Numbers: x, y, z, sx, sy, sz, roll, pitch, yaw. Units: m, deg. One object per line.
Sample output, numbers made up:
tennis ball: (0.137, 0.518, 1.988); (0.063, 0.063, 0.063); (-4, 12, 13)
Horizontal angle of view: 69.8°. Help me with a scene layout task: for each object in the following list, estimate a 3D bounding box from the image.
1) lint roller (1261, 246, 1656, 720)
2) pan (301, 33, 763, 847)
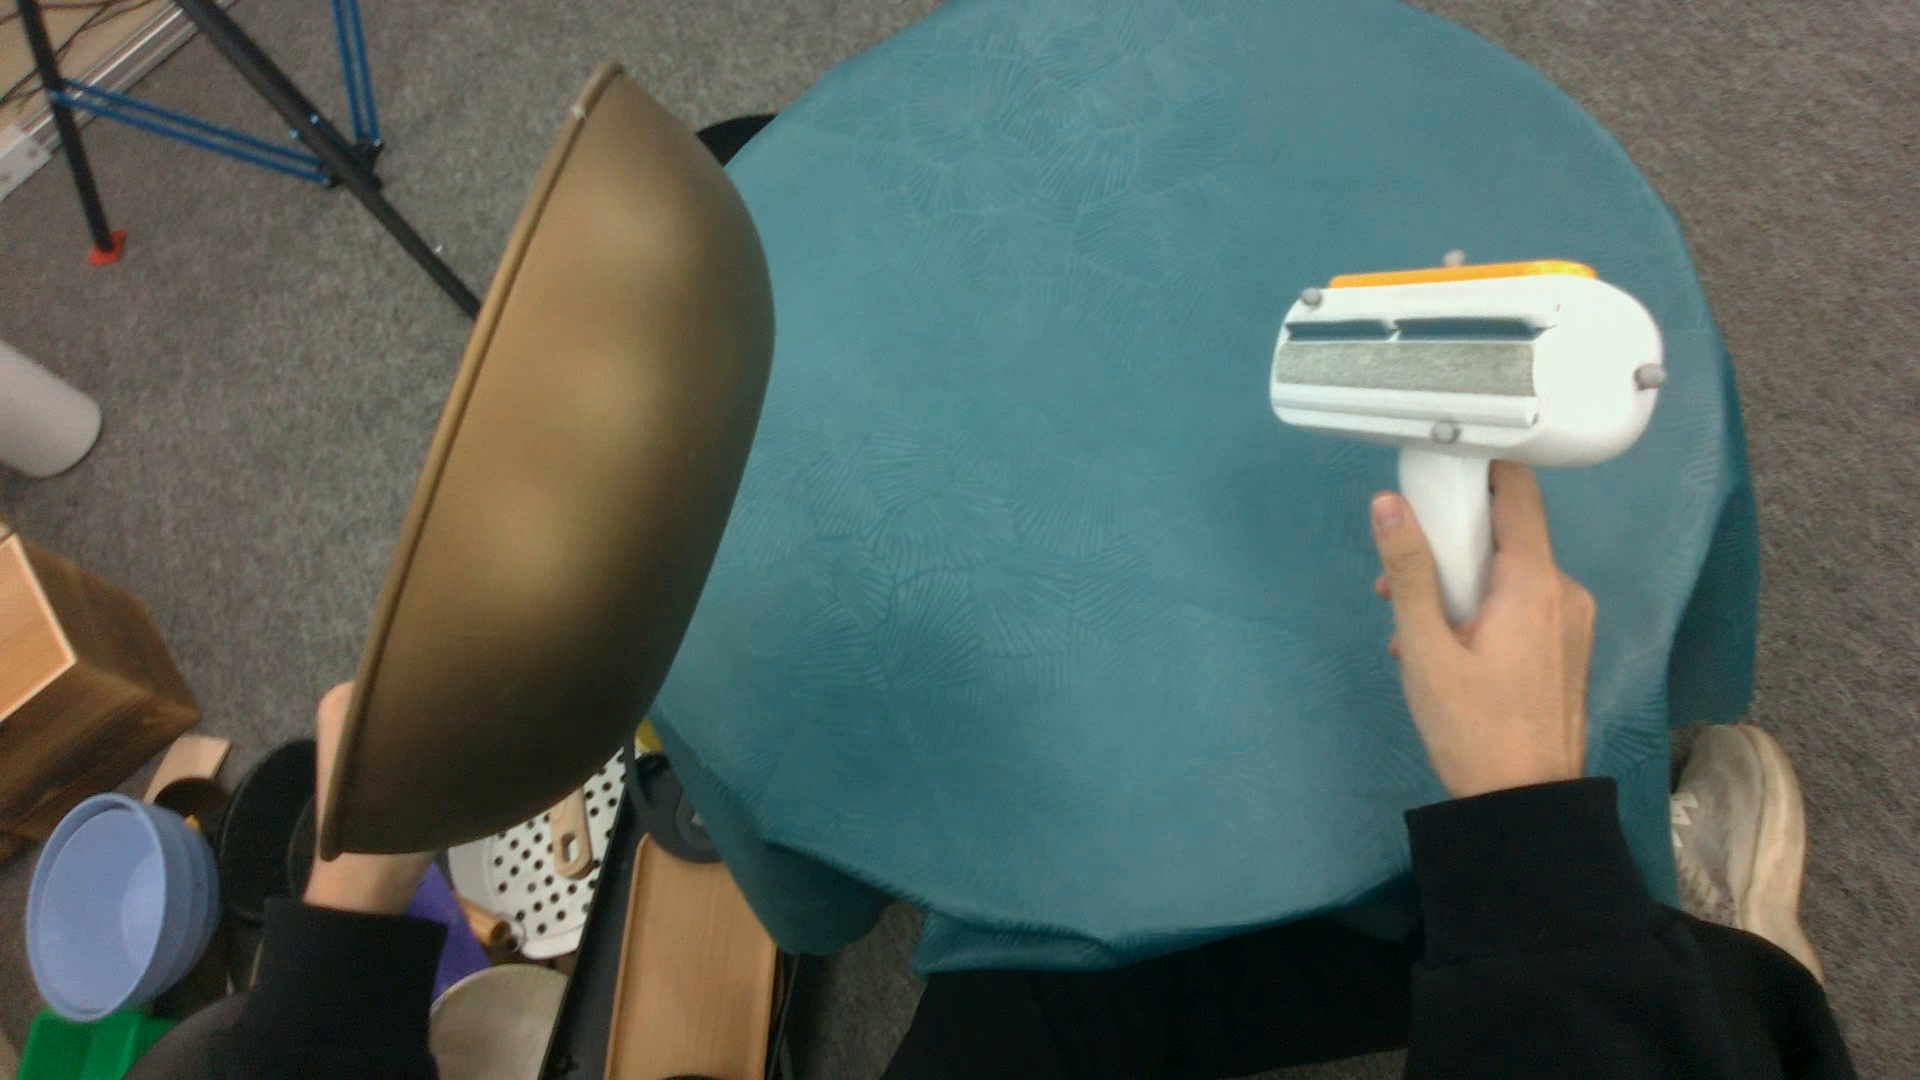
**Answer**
lint roller: (0.188, -0.019, 0.554); (0.074, 0.193, 0.192); (-2, 103, -23)
pan: (-0.174, 0.029, 0.541); (0.087, 0.461, 0.289); (20, 46, -16)
